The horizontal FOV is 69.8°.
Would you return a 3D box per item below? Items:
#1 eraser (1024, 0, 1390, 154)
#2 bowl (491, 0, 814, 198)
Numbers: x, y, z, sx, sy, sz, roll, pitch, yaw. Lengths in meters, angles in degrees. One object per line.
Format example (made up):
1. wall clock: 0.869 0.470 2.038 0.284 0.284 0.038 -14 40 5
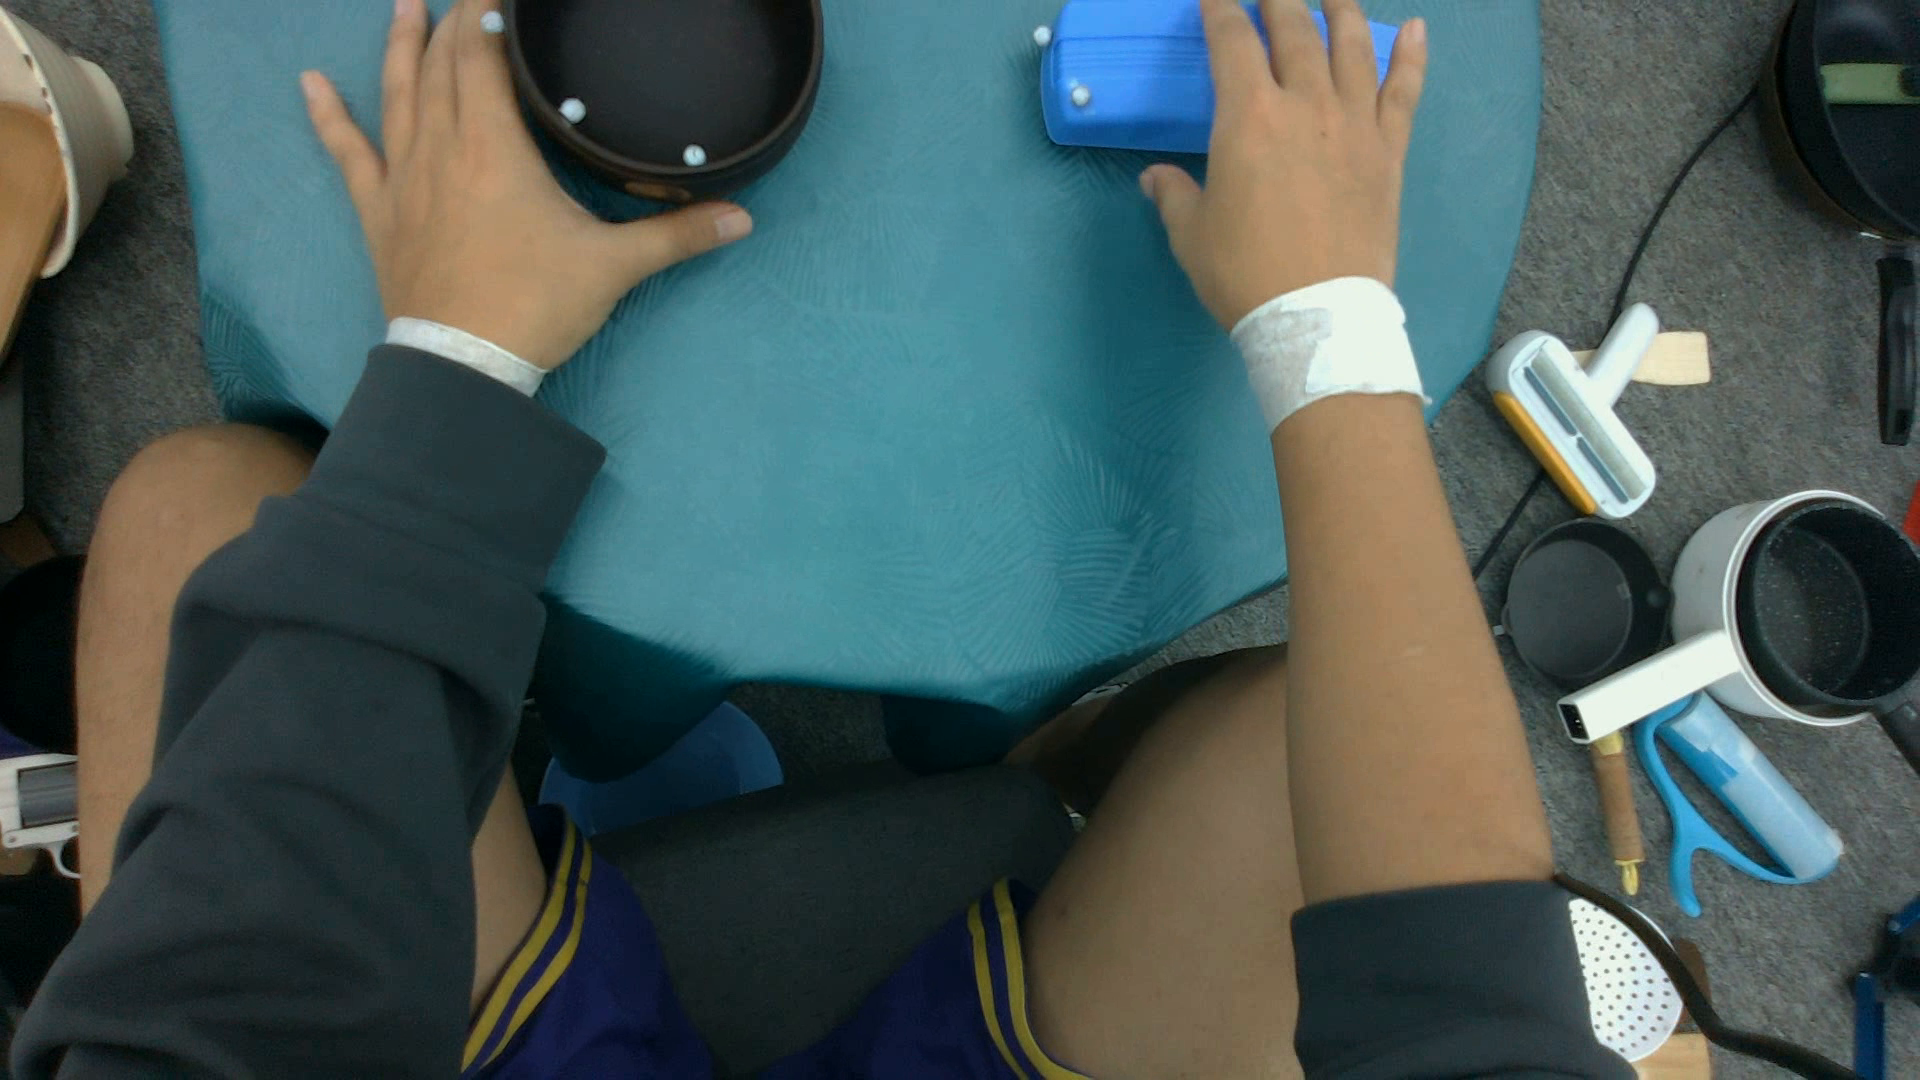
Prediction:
1. eraser: 0.110 -0.202 0.598 0.162 0.047 0.054 -1 84 -12
2. bowl: -0.118 -0.189 0.534 0.118 0.070 0.118 1 87 -13
